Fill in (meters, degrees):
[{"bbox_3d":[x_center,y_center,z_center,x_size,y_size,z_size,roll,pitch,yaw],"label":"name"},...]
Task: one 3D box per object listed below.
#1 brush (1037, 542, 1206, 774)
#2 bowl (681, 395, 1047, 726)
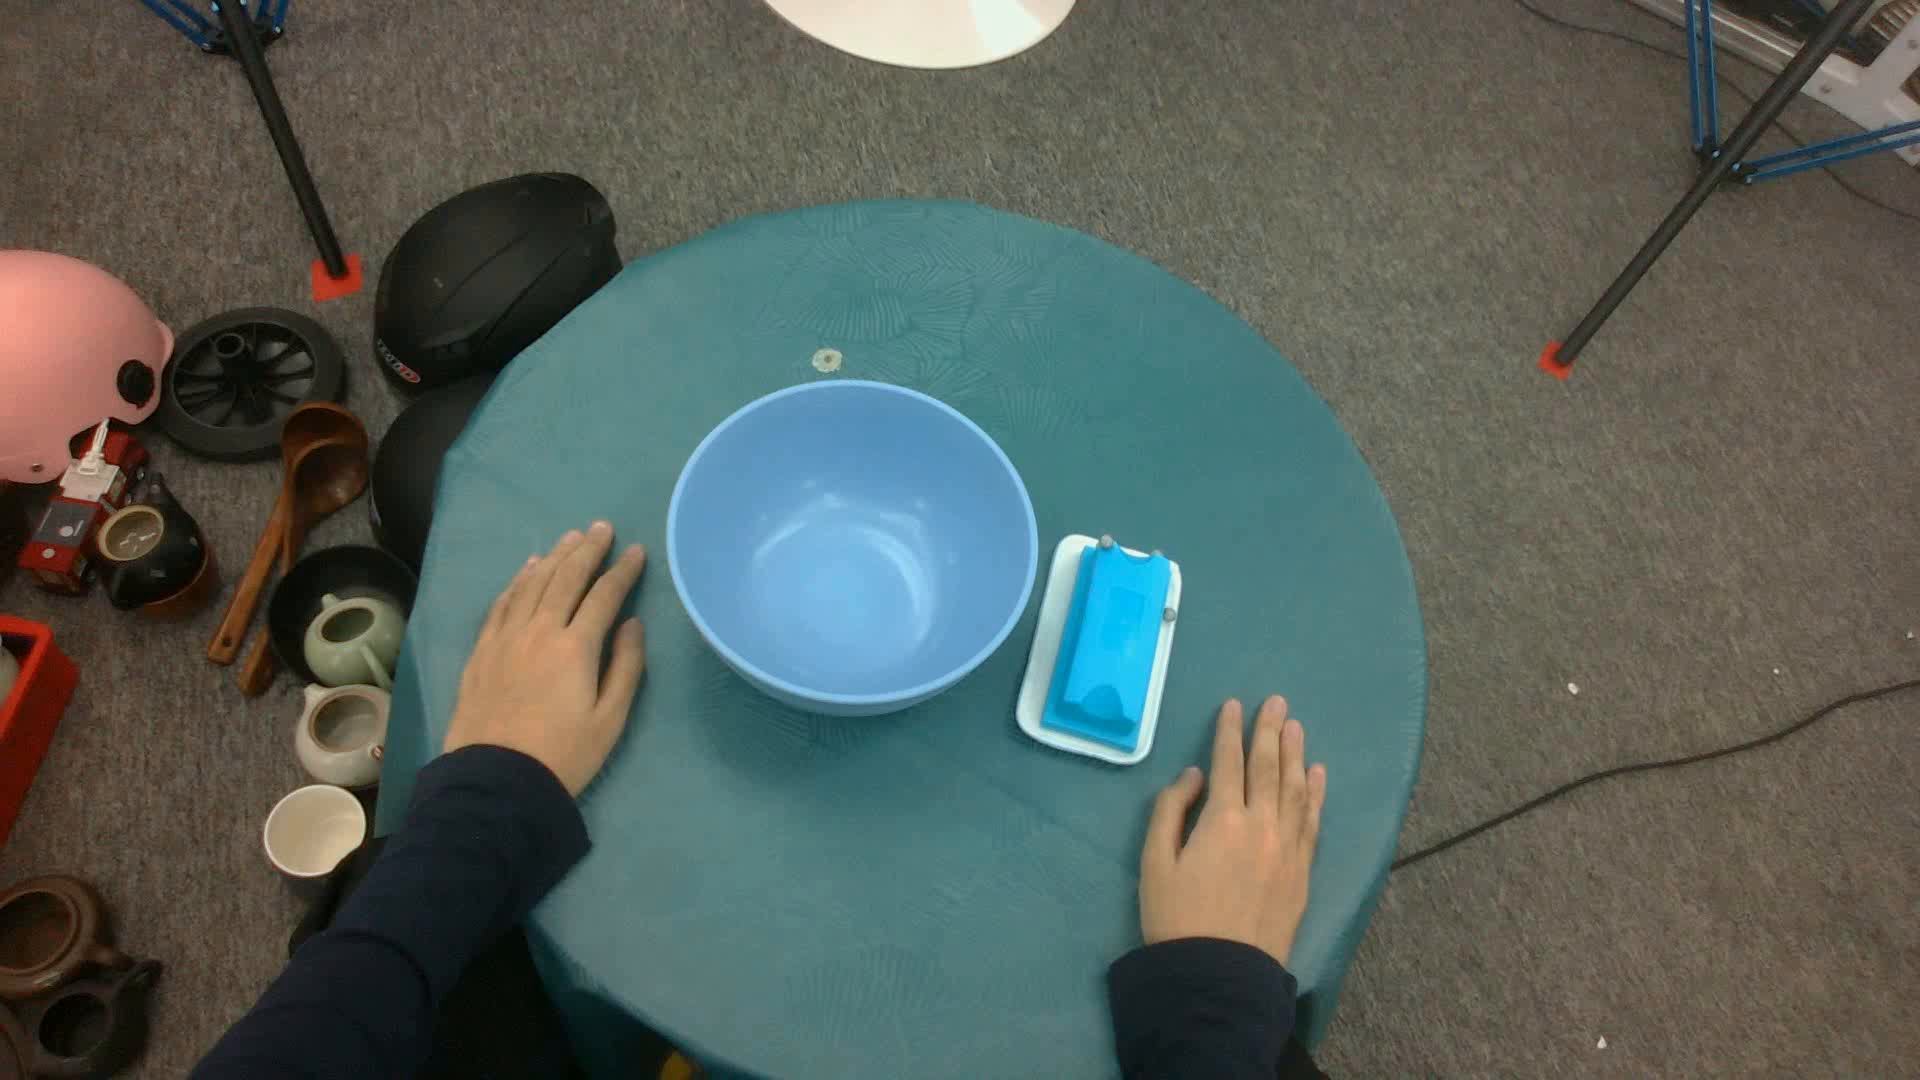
[{"bbox_3d":[0.097,0.060,0.794,0.084,0.055,0.144,13,56,5],"label":"brush"},{"bbox_3d":[-0.055,0.024,0.778,0.196,0.095,0.197,3,59,-5],"label":"bowl"}]
